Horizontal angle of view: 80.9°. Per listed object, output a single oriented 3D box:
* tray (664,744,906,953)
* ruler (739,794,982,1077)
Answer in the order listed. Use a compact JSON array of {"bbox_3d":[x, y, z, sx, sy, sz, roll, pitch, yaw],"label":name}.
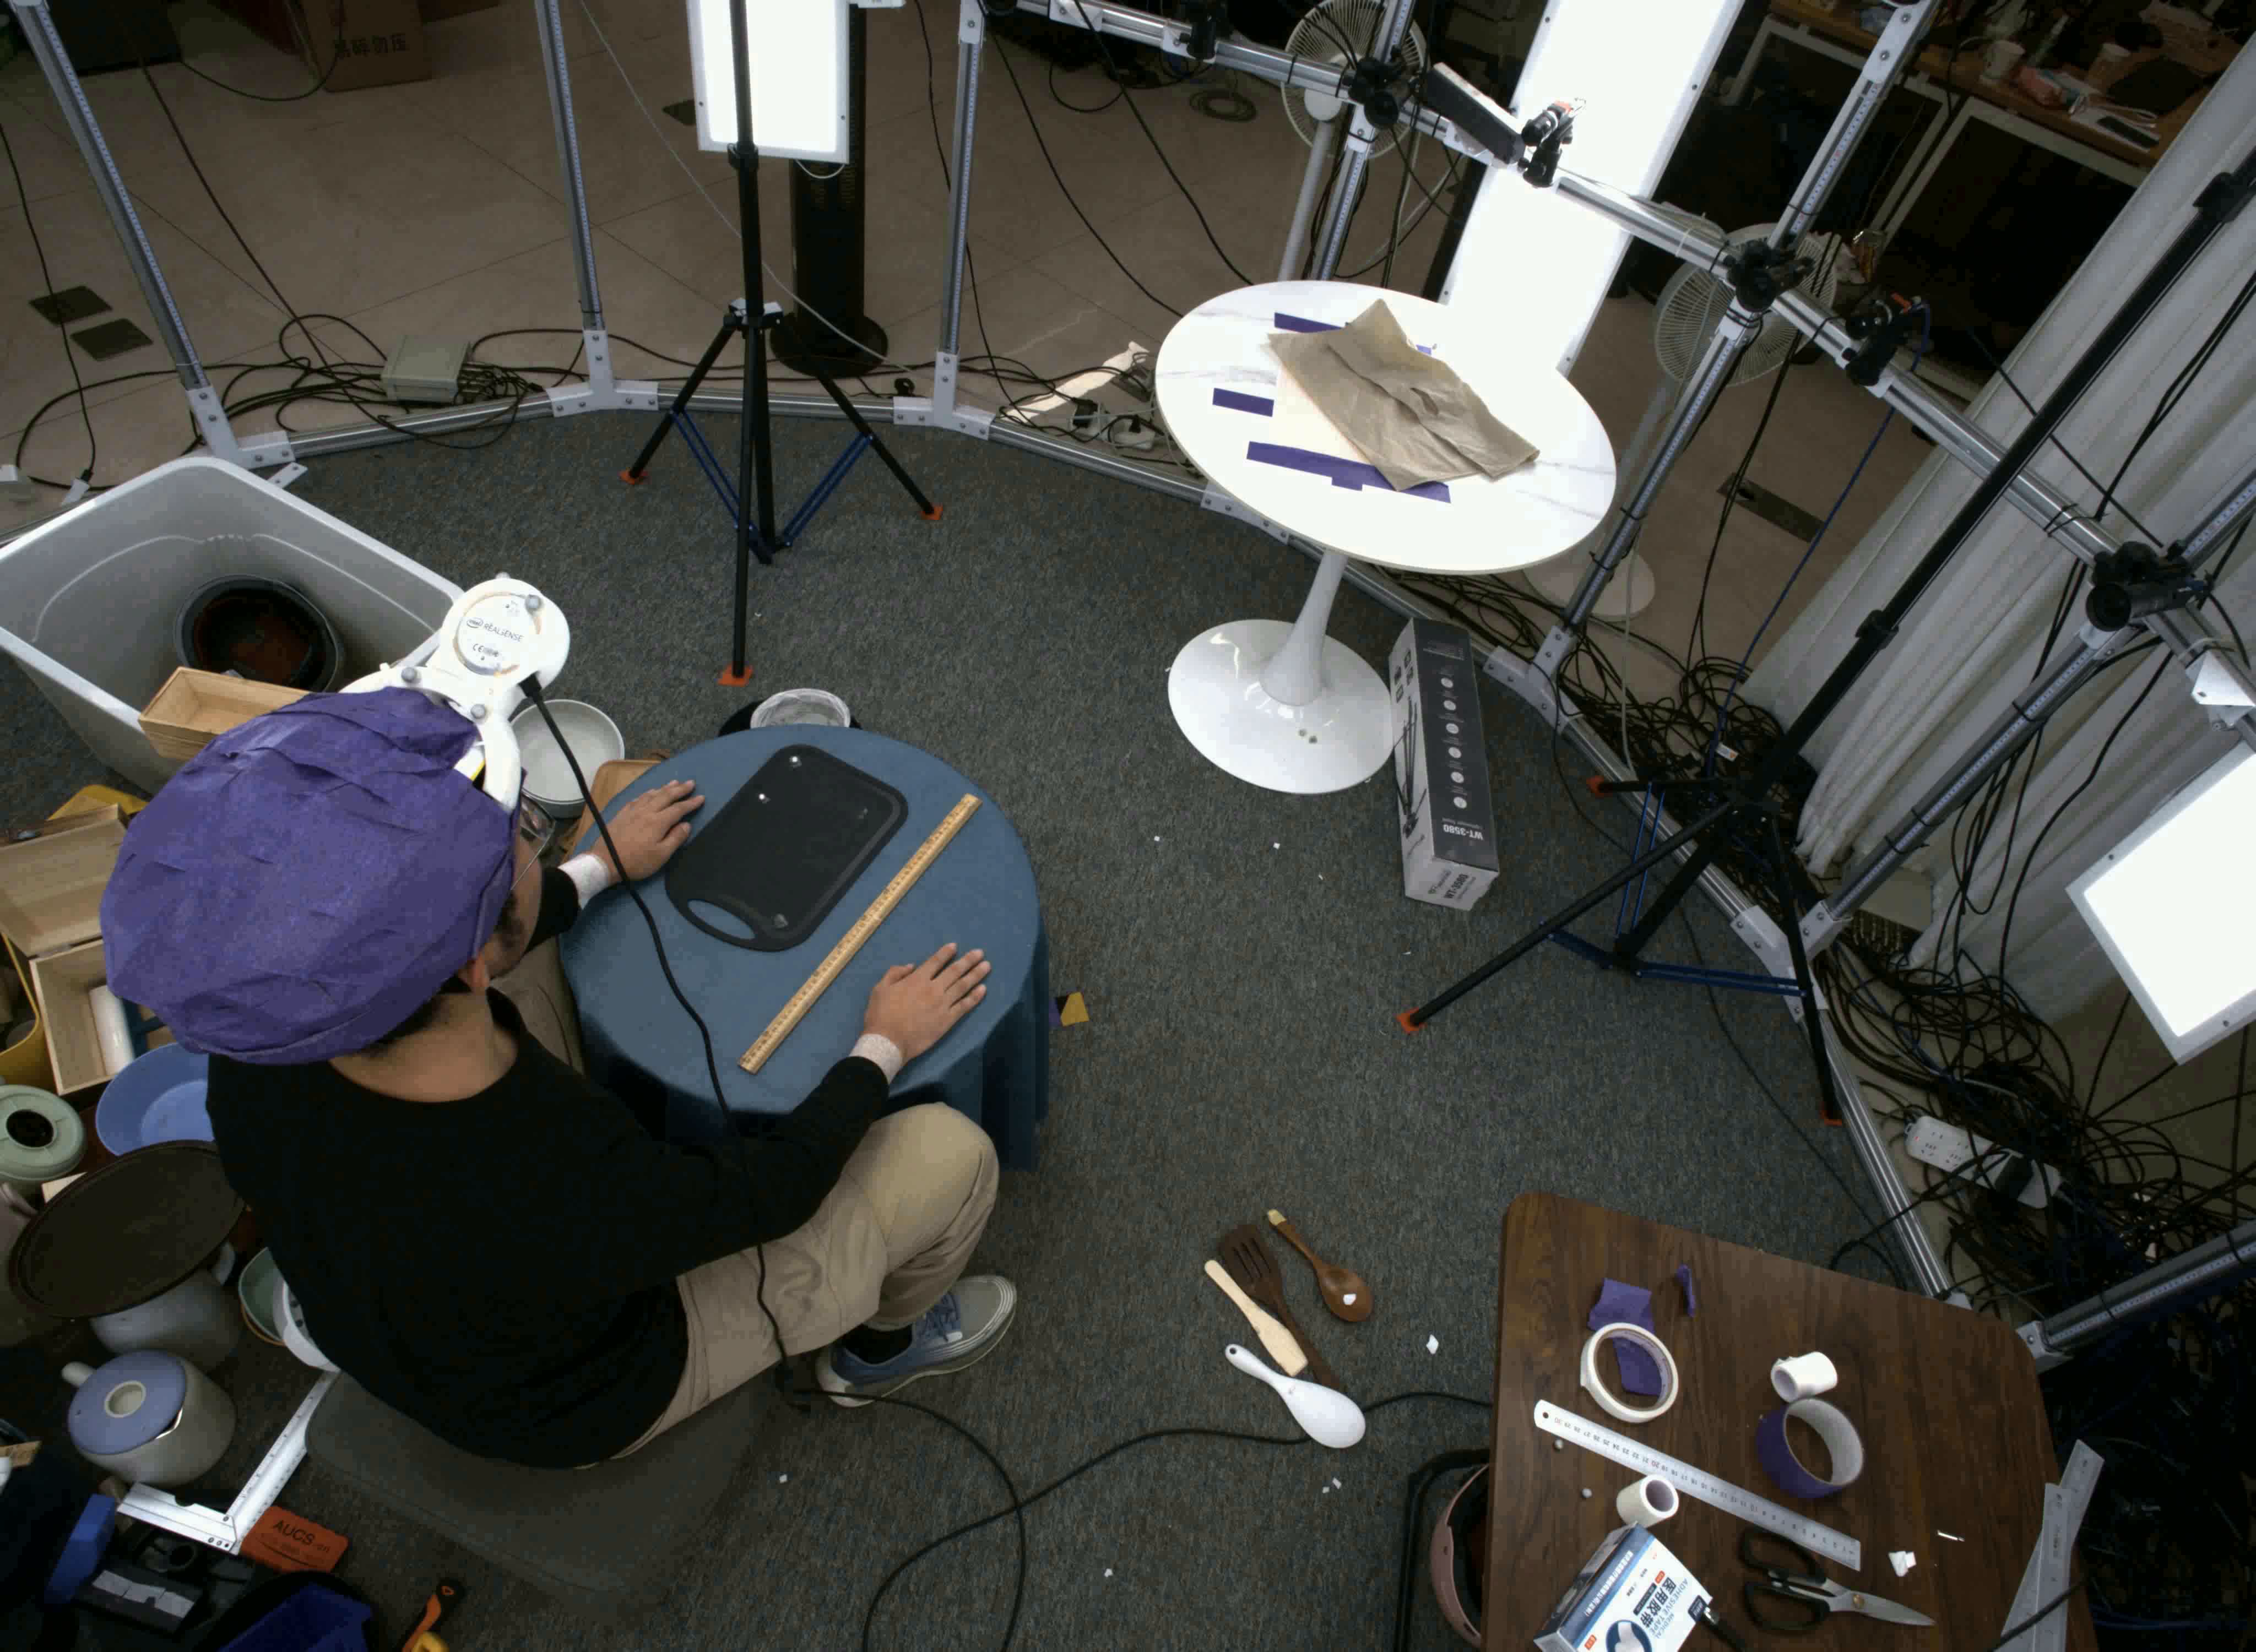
[{"bbox_3d":[-0.447,0.025,1.690,0.208,0.010,0.324,28,52,7],"label":"tray"},{"bbox_3d":[-0.328,0.120,1.651,0.026,0.006,0.498,29,52,9],"label":"ruler"}]
